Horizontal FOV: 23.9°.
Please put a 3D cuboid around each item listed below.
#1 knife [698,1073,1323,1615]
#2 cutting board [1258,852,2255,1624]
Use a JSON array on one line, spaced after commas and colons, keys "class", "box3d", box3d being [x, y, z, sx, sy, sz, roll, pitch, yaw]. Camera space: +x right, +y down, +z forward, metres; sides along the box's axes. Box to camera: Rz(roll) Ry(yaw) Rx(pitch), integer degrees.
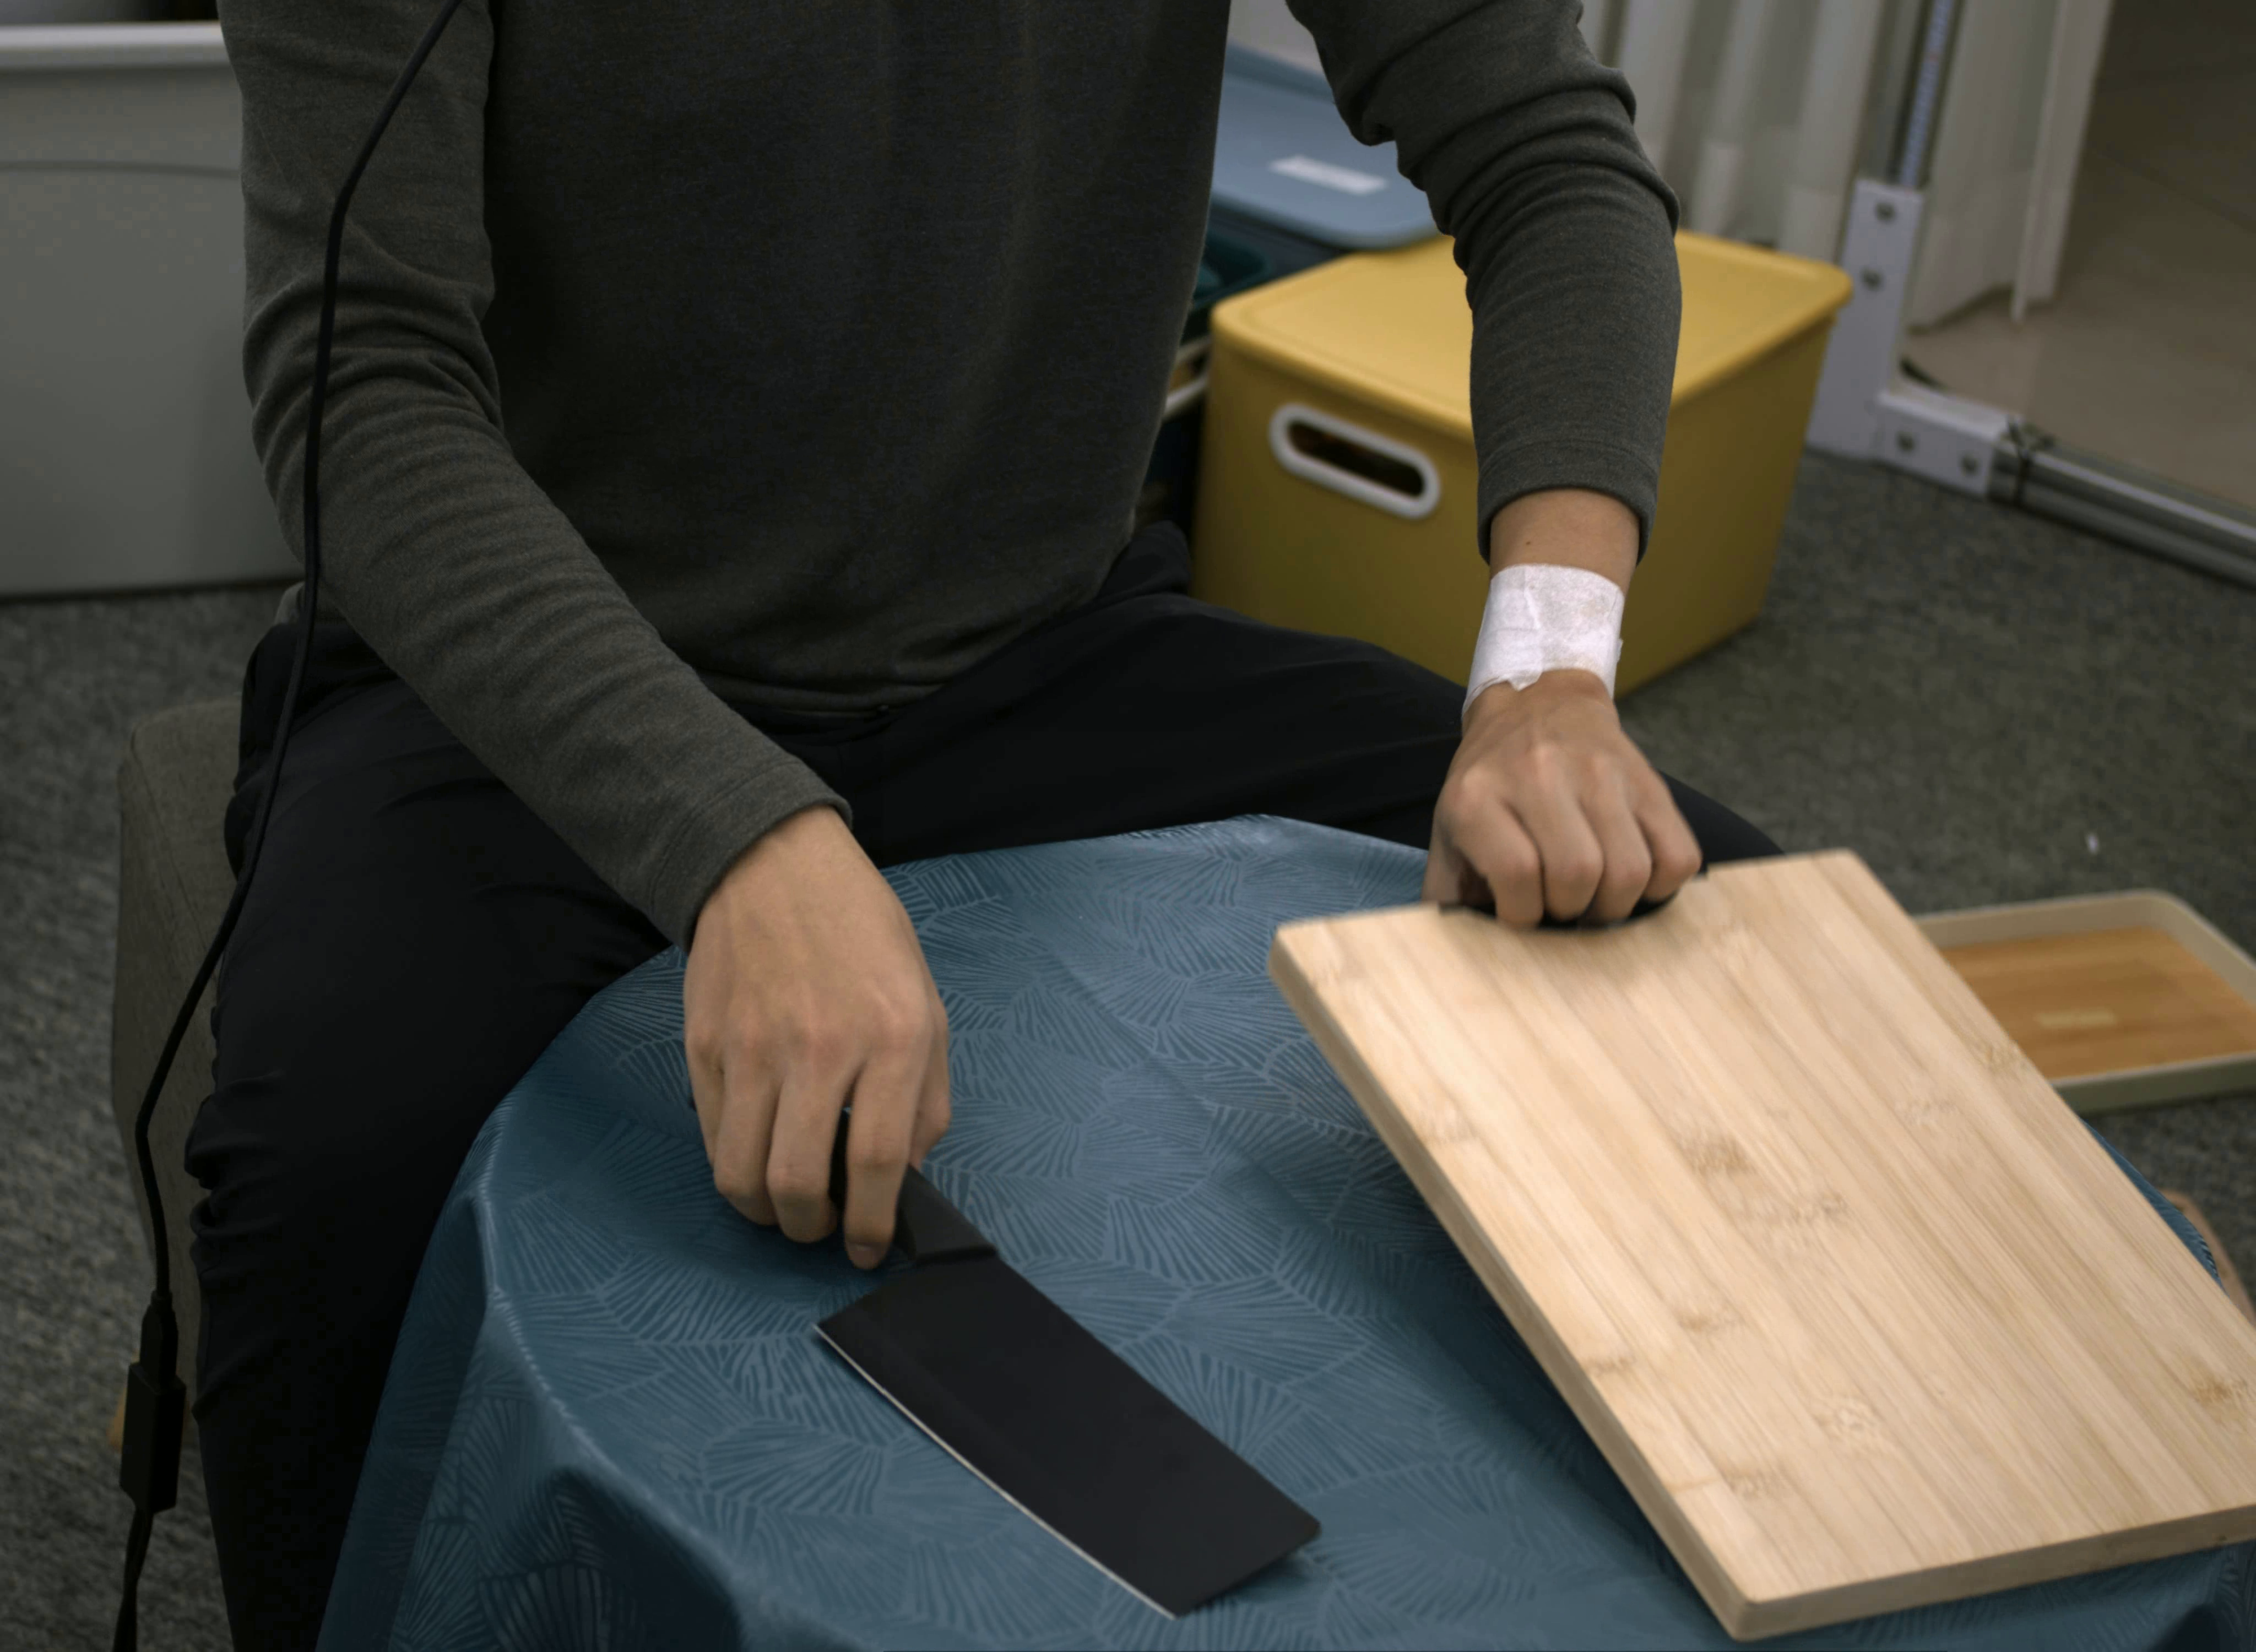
[{"class": "knife", "box3d": [-0.052, 0.160, 1.699, 0.080, 0.021, 0.305, -22, 39, -25]}, {"class": "cutting board", "box3d": [0.221, 0.128, 1.773, 0.249, 0.023, 0.352, -7, 38, -26]}]
